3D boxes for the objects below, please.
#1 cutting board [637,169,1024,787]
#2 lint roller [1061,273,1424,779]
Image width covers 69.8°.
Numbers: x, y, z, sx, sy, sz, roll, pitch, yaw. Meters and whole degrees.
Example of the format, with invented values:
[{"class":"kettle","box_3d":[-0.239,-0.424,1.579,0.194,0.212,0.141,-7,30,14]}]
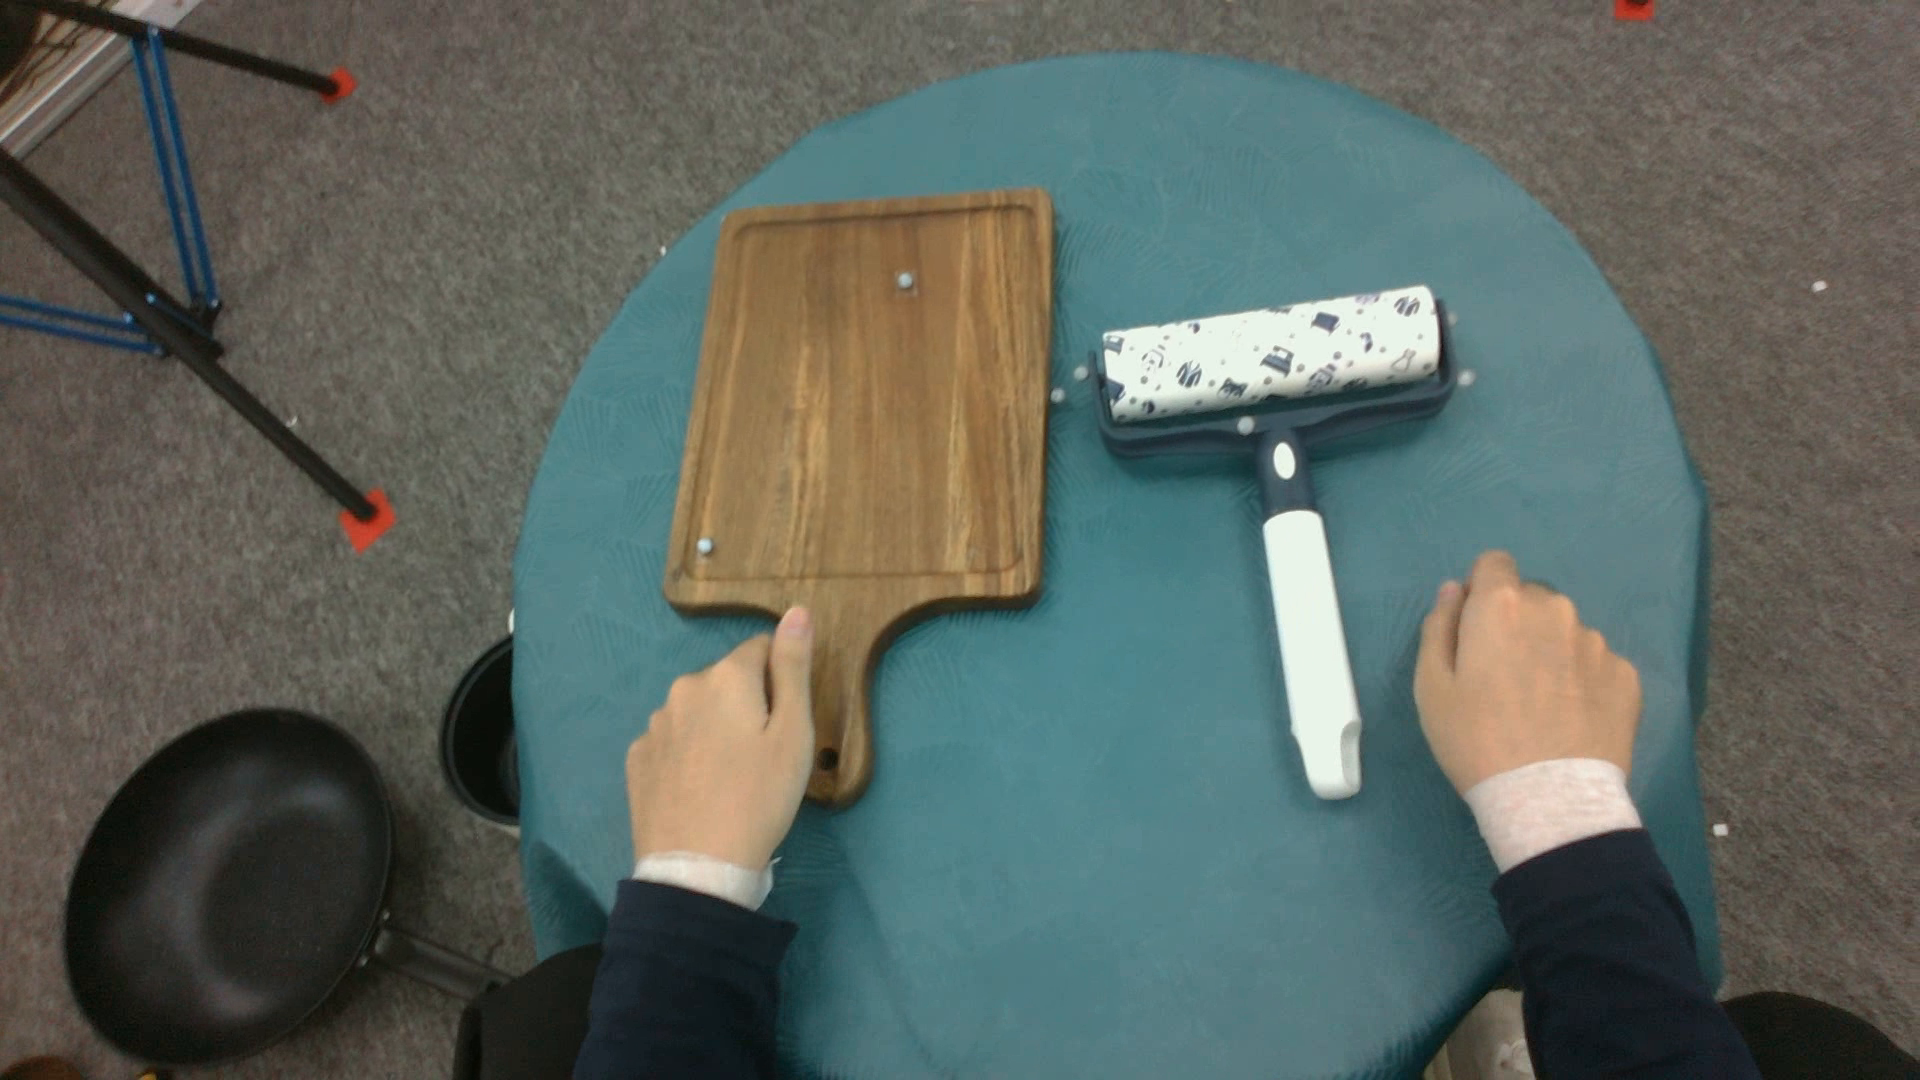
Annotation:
[{"class":"cutting board","box_3d":[-0.066,-0.045,0.723,0.201,0.023,0.353,-3,64,9]},{"class":"lint roller","box_3d":[0.150,-0.011,0.660,0.176,0.050,0.248,-8,66,5]}]
